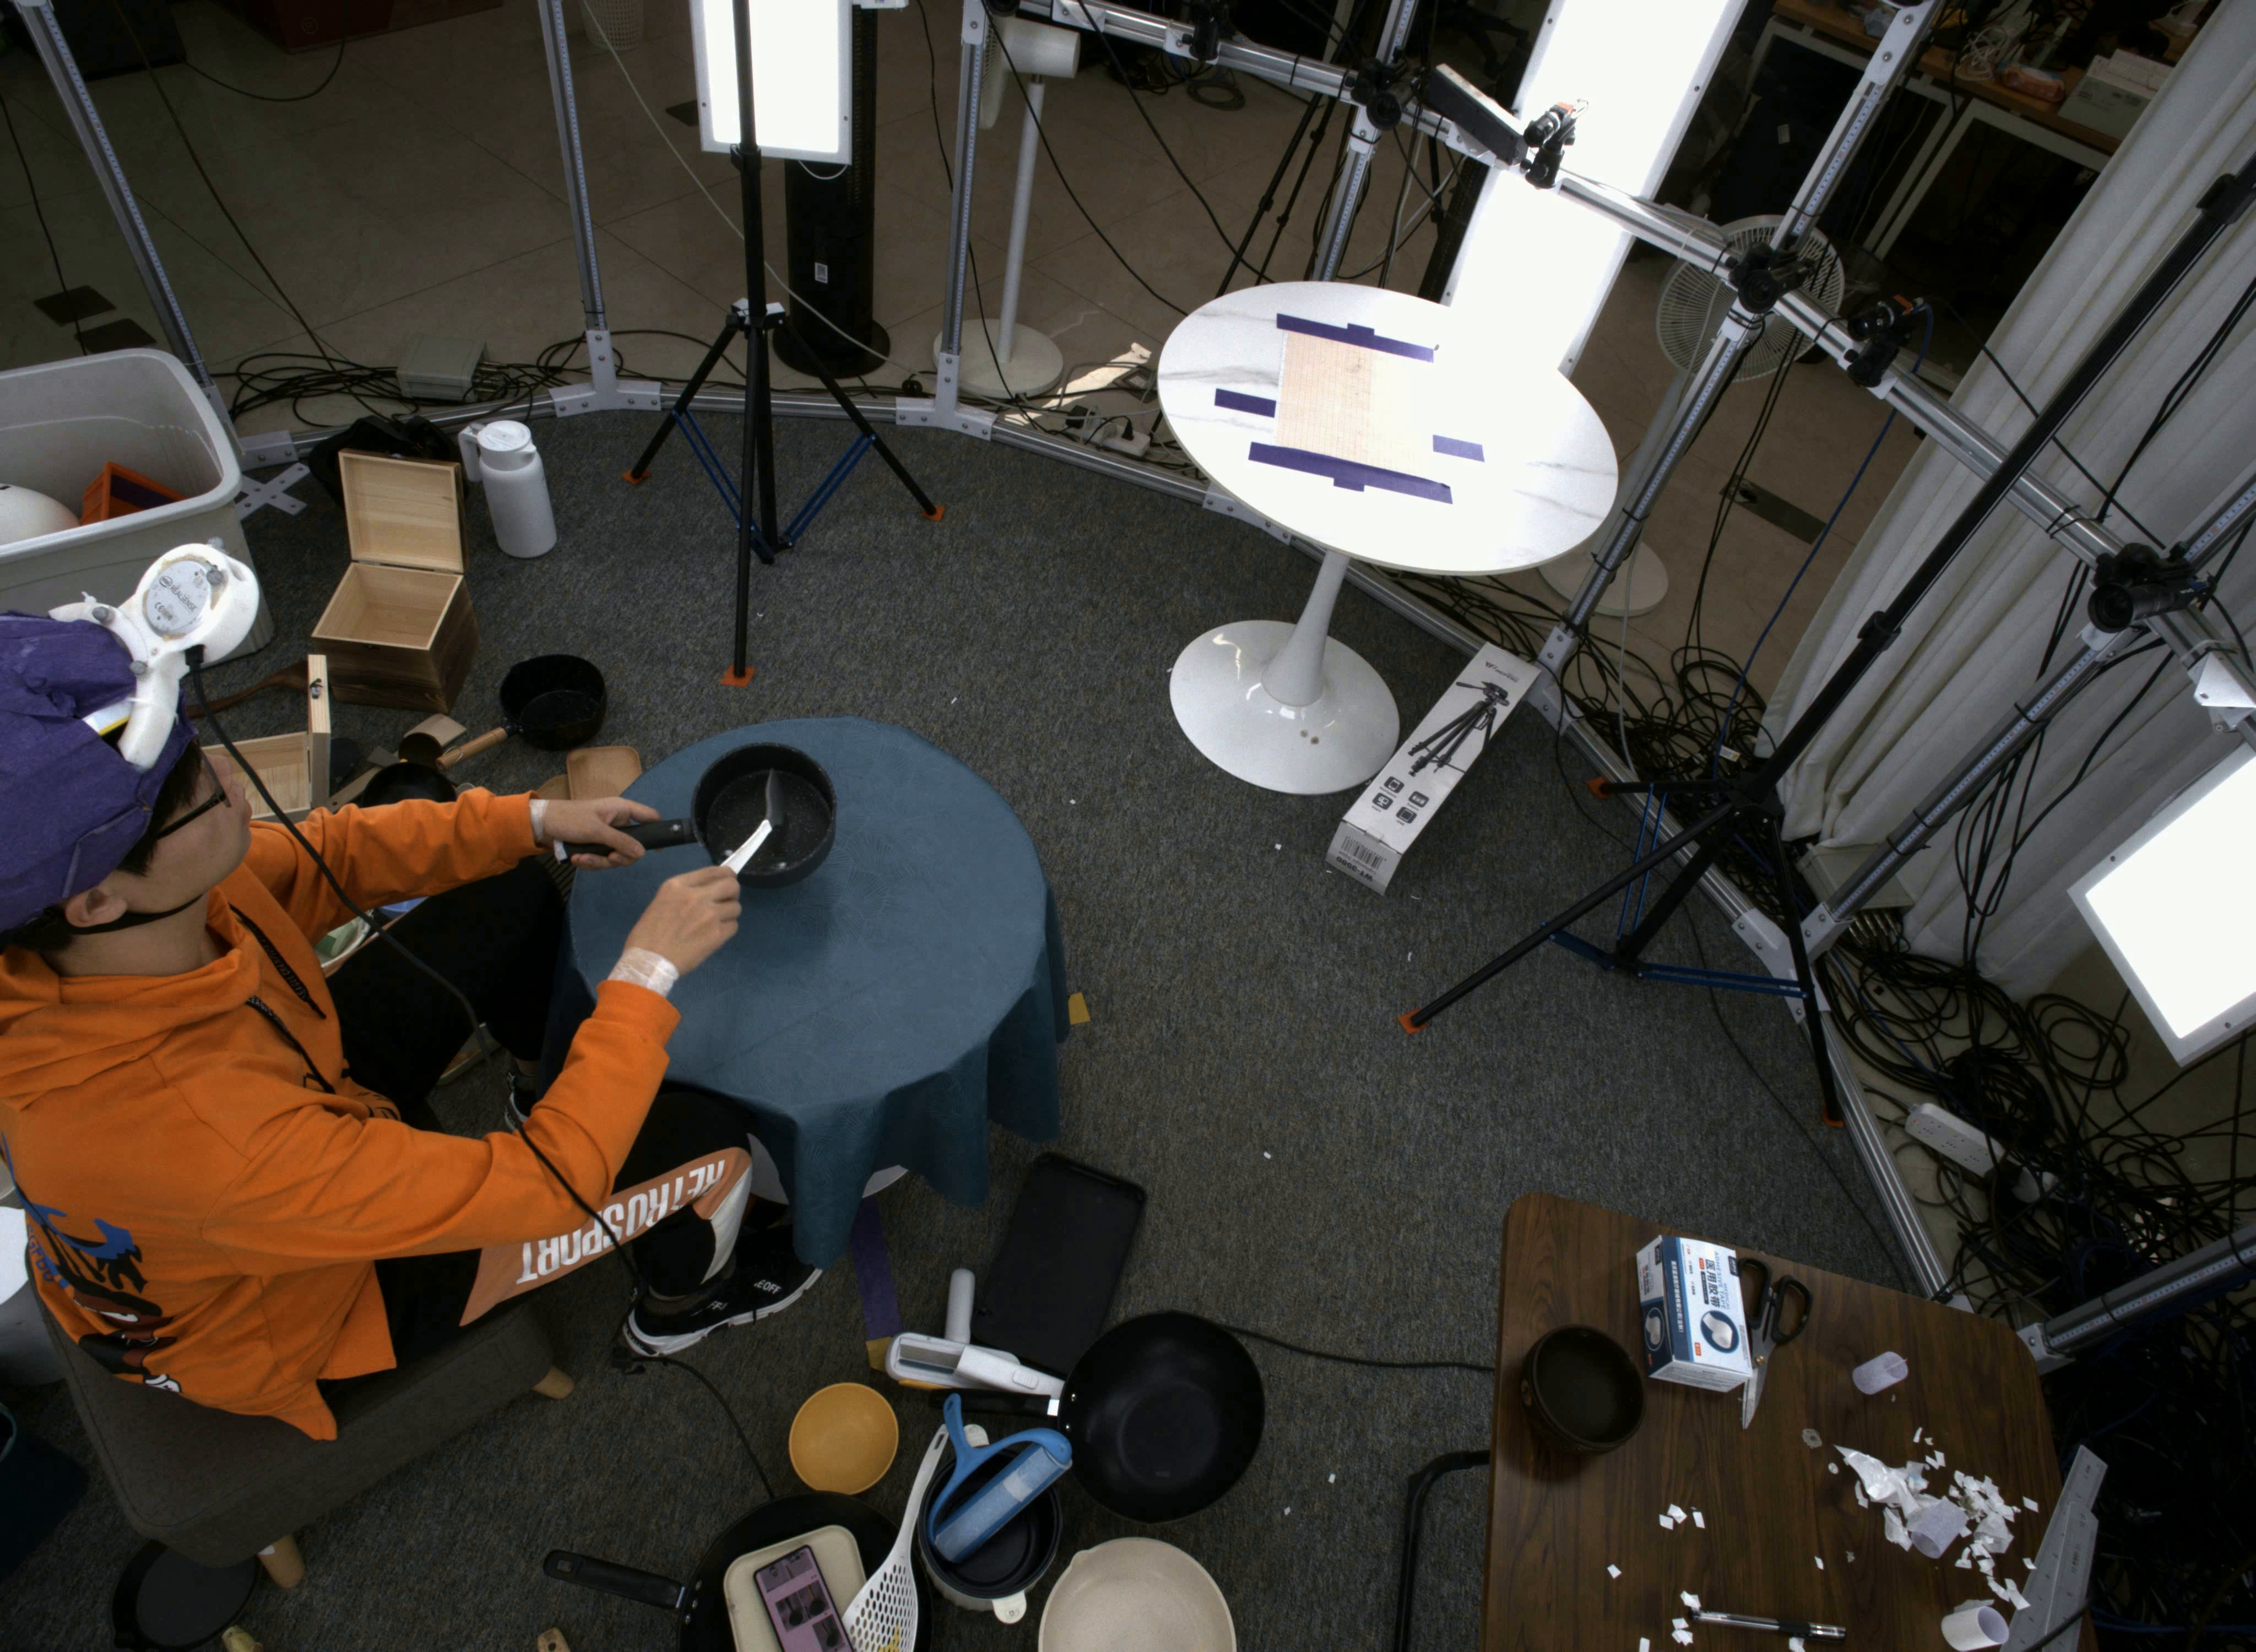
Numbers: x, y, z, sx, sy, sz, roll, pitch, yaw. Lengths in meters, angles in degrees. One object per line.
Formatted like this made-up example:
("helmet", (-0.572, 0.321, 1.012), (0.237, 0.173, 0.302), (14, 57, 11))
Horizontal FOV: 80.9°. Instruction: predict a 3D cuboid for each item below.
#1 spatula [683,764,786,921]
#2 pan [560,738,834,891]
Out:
("spatula", (-0.437, 0.014, 1.471), (0.031, 0.061, 0.283), (-16, 27, 15))
("pan", (-0.515, 0.002, 1.540), (0.329, 0.087, 0.170), (-10, 73, -17))
